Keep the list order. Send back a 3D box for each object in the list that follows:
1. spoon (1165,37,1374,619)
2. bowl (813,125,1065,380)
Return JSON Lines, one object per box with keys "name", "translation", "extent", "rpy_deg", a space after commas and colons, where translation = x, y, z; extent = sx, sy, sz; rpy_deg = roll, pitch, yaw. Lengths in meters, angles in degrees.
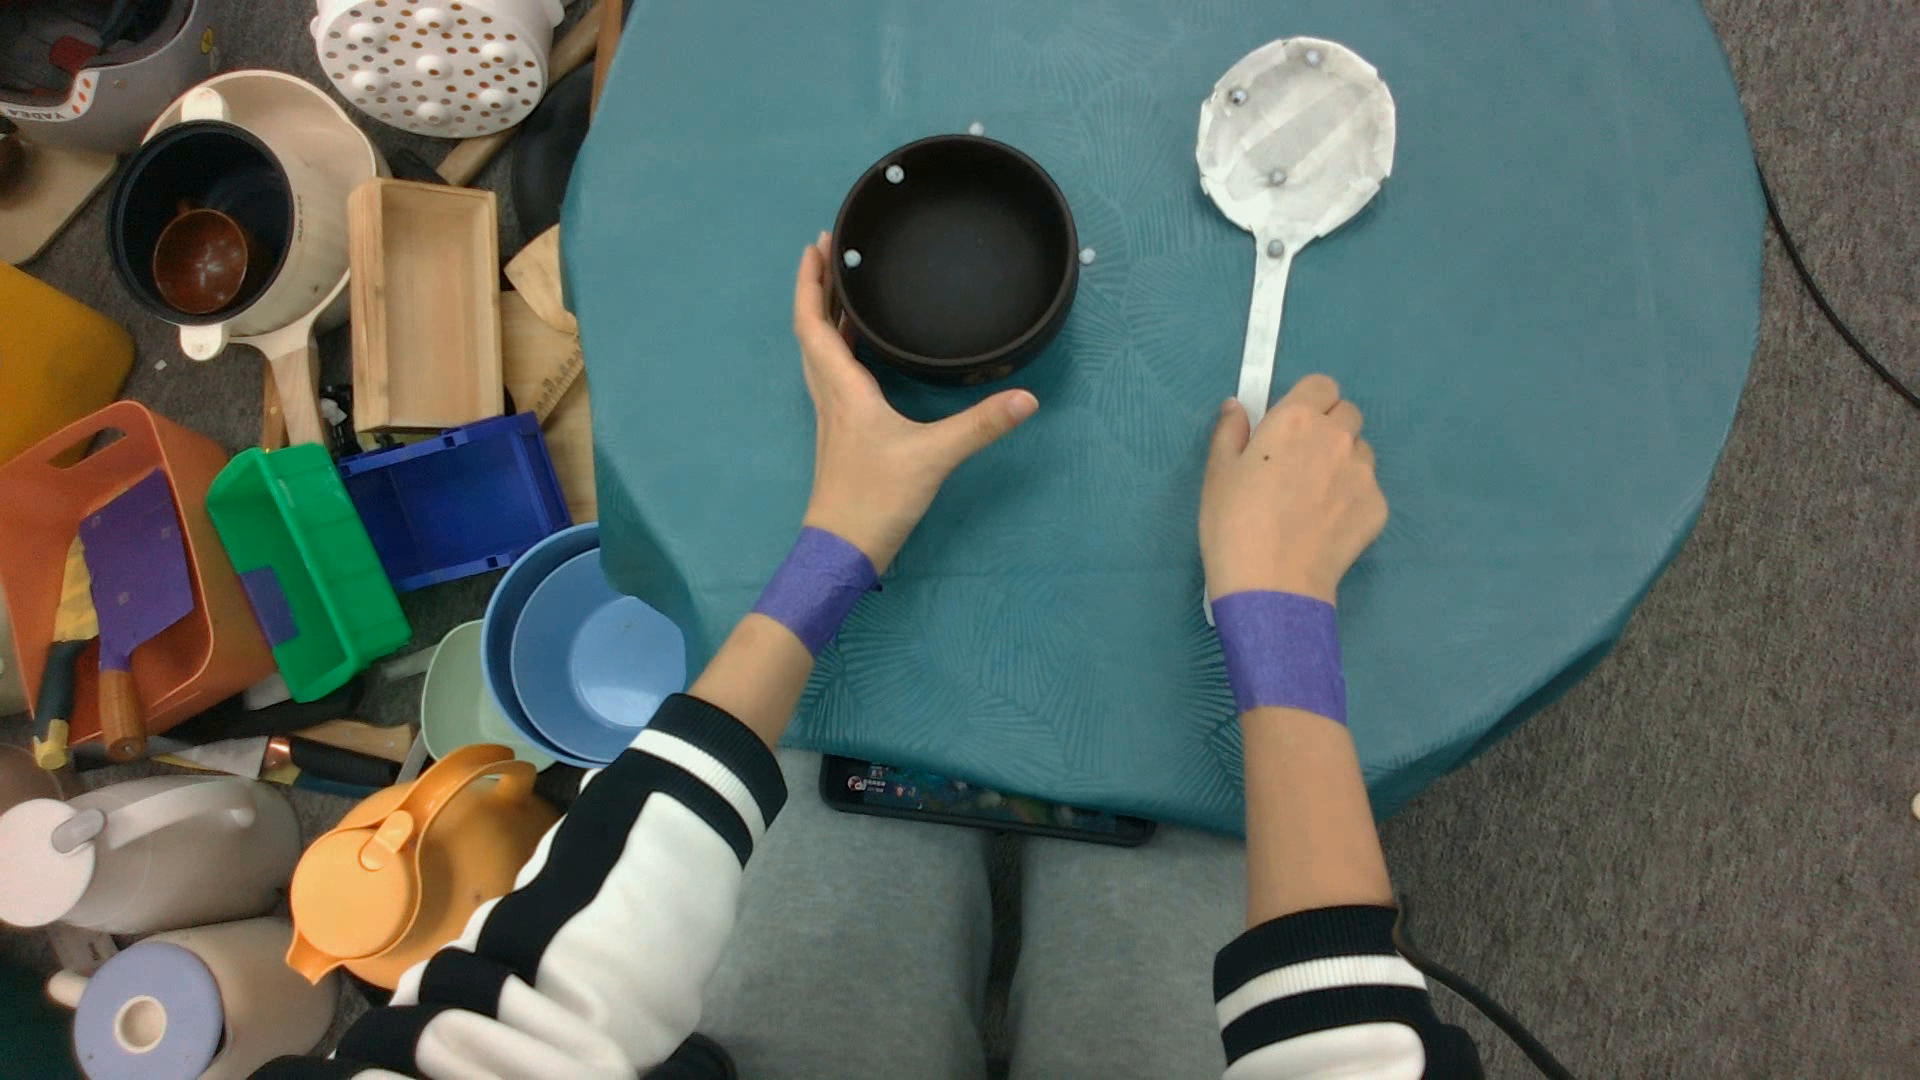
{"name": "spoon", "translation": [0.130, -0.101, 0.658], "extent": [0.100, 0.059, 0.278], "rpy_deg": [11, 80, 10]}
{"name": "bowl", "translation": [-0.008, -0.132, 0.666], "extent": [0.118, 0.070, 0.118], "rpy_deg": [-1, 79, 5]}
